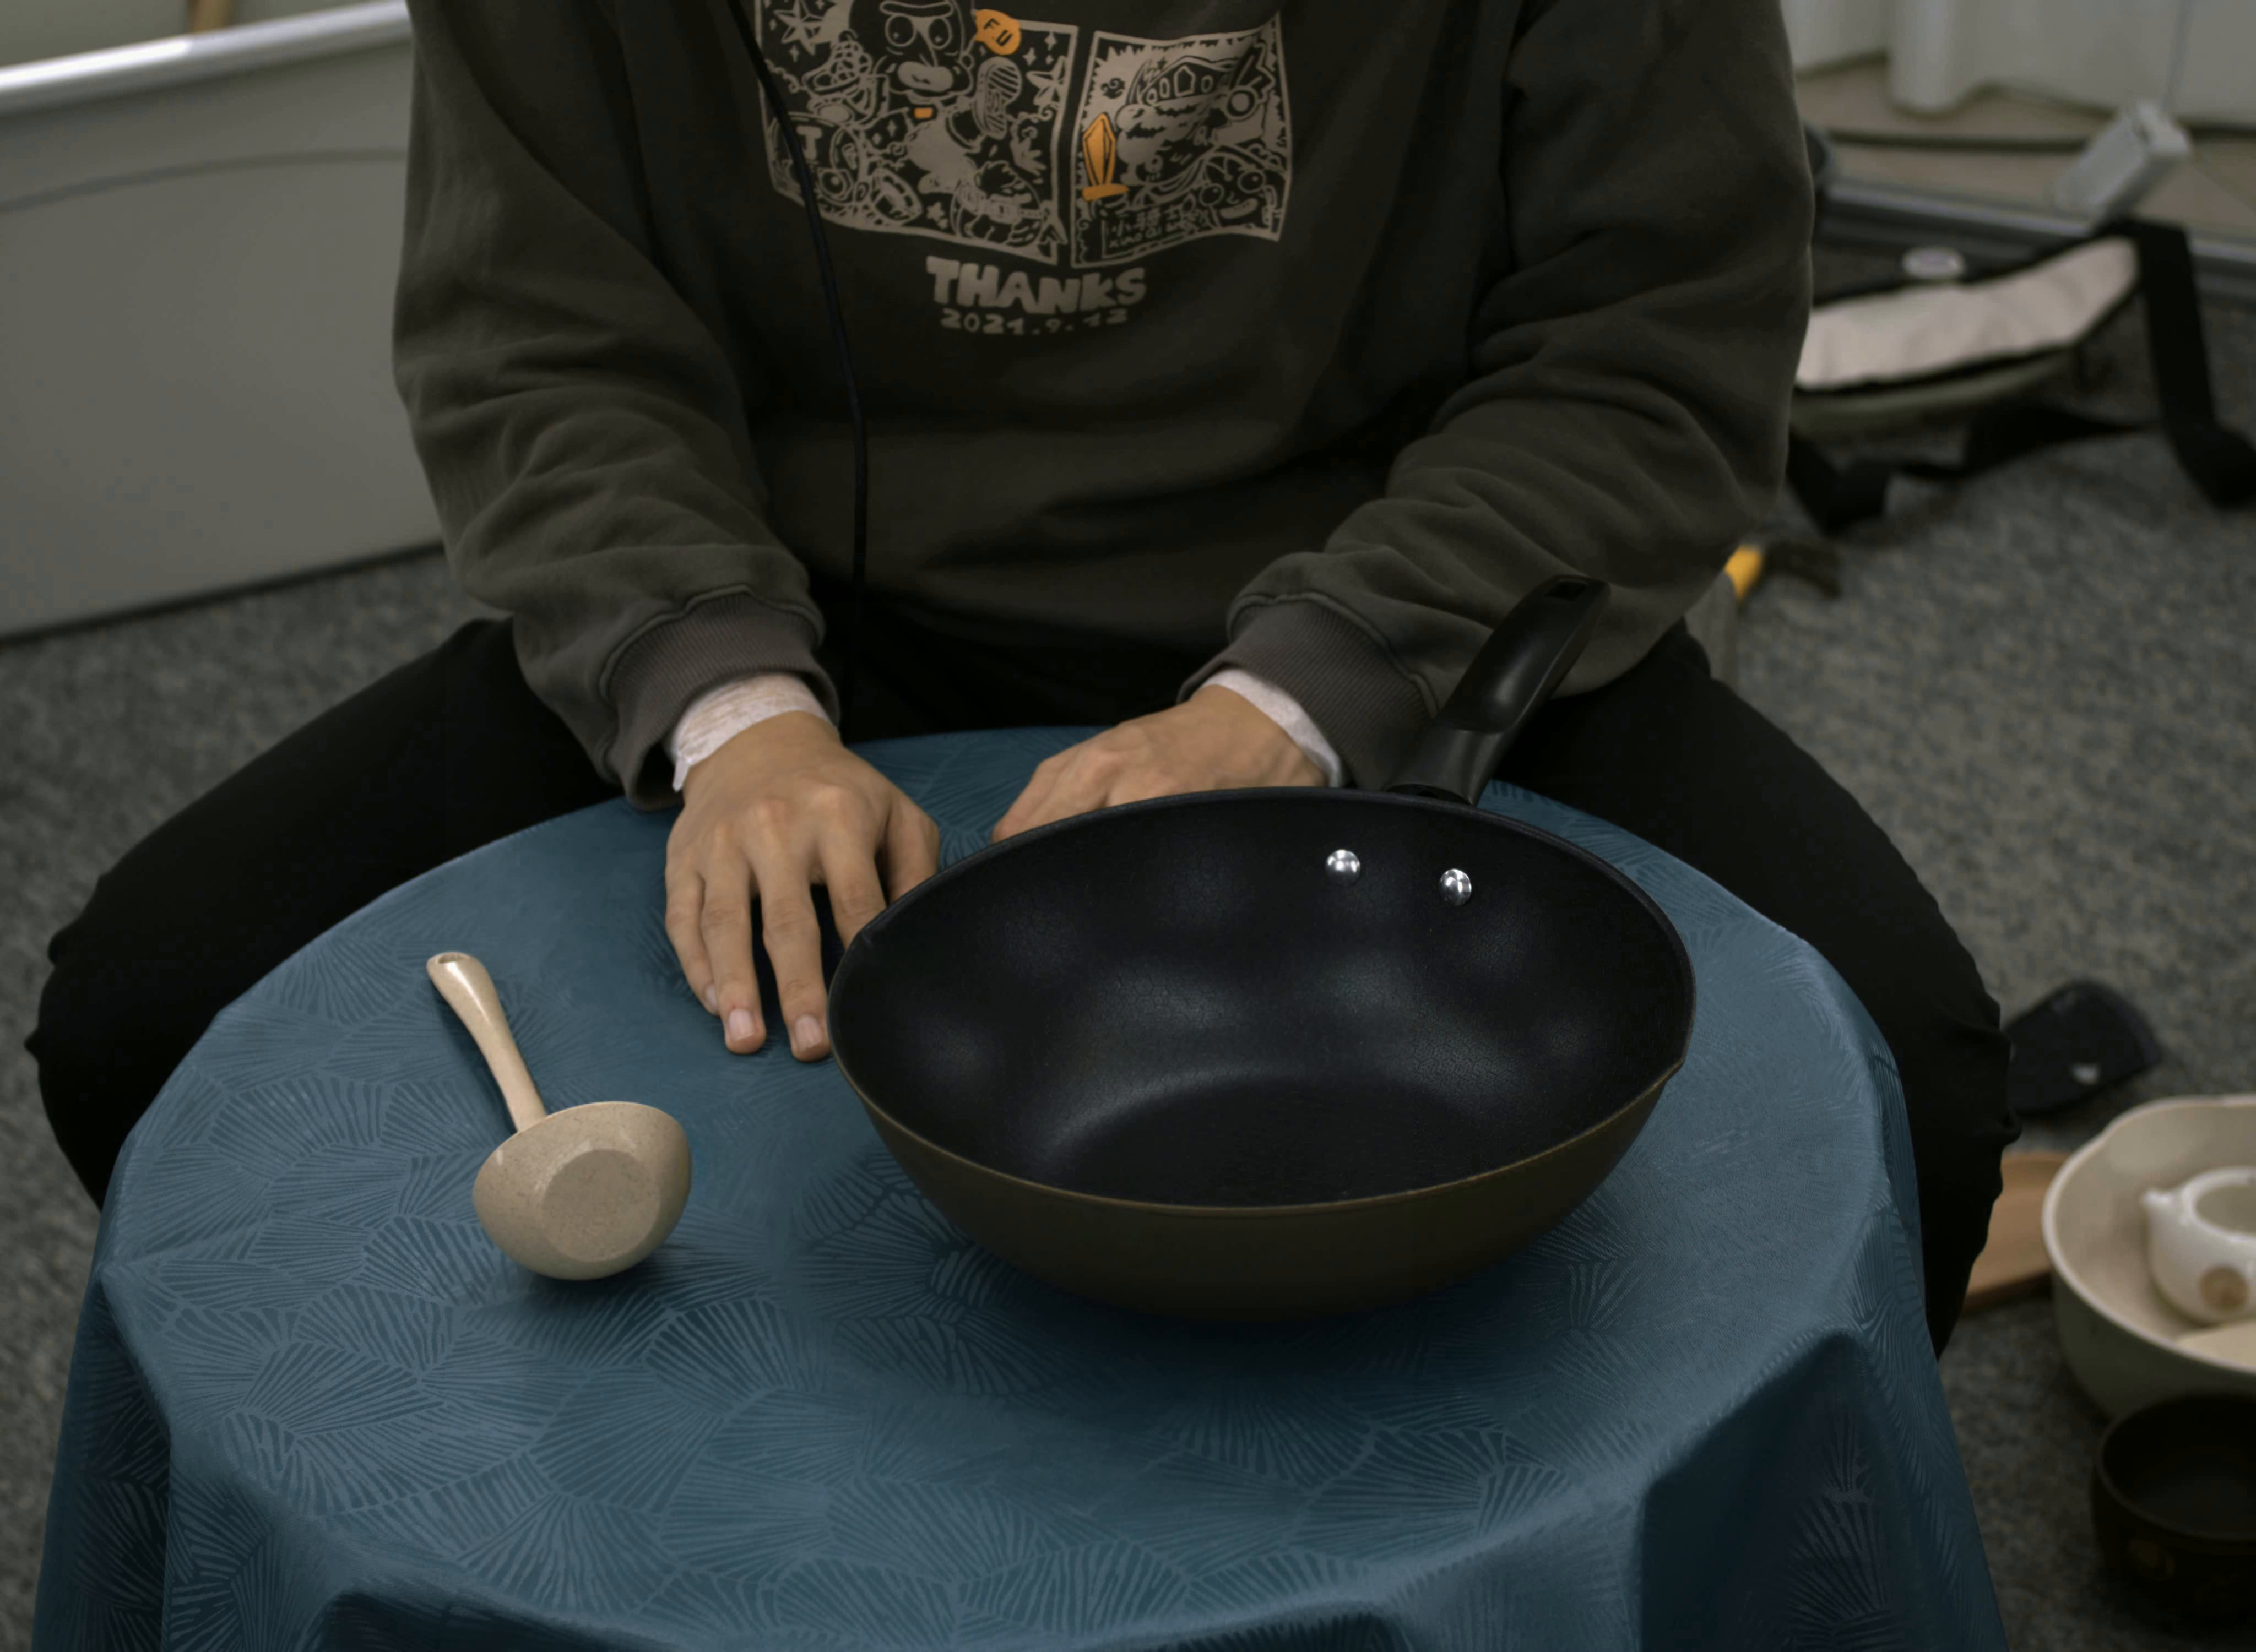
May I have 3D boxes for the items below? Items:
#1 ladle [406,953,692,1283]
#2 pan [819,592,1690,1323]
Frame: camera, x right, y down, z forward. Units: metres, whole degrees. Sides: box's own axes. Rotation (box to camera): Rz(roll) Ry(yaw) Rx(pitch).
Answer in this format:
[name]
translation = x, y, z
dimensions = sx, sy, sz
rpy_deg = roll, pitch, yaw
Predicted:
[ladle]
translation = -0.212, 0.072, 1.899
dimensions = 0.072, 0.072, 0.256
rpy_deg = -17, 31, -15
[pan]
translation = 0.078, 0.045, 1.910
dimensions = 0.286, 0.086, 0.471
rpy_deg = 9, 29, 21
